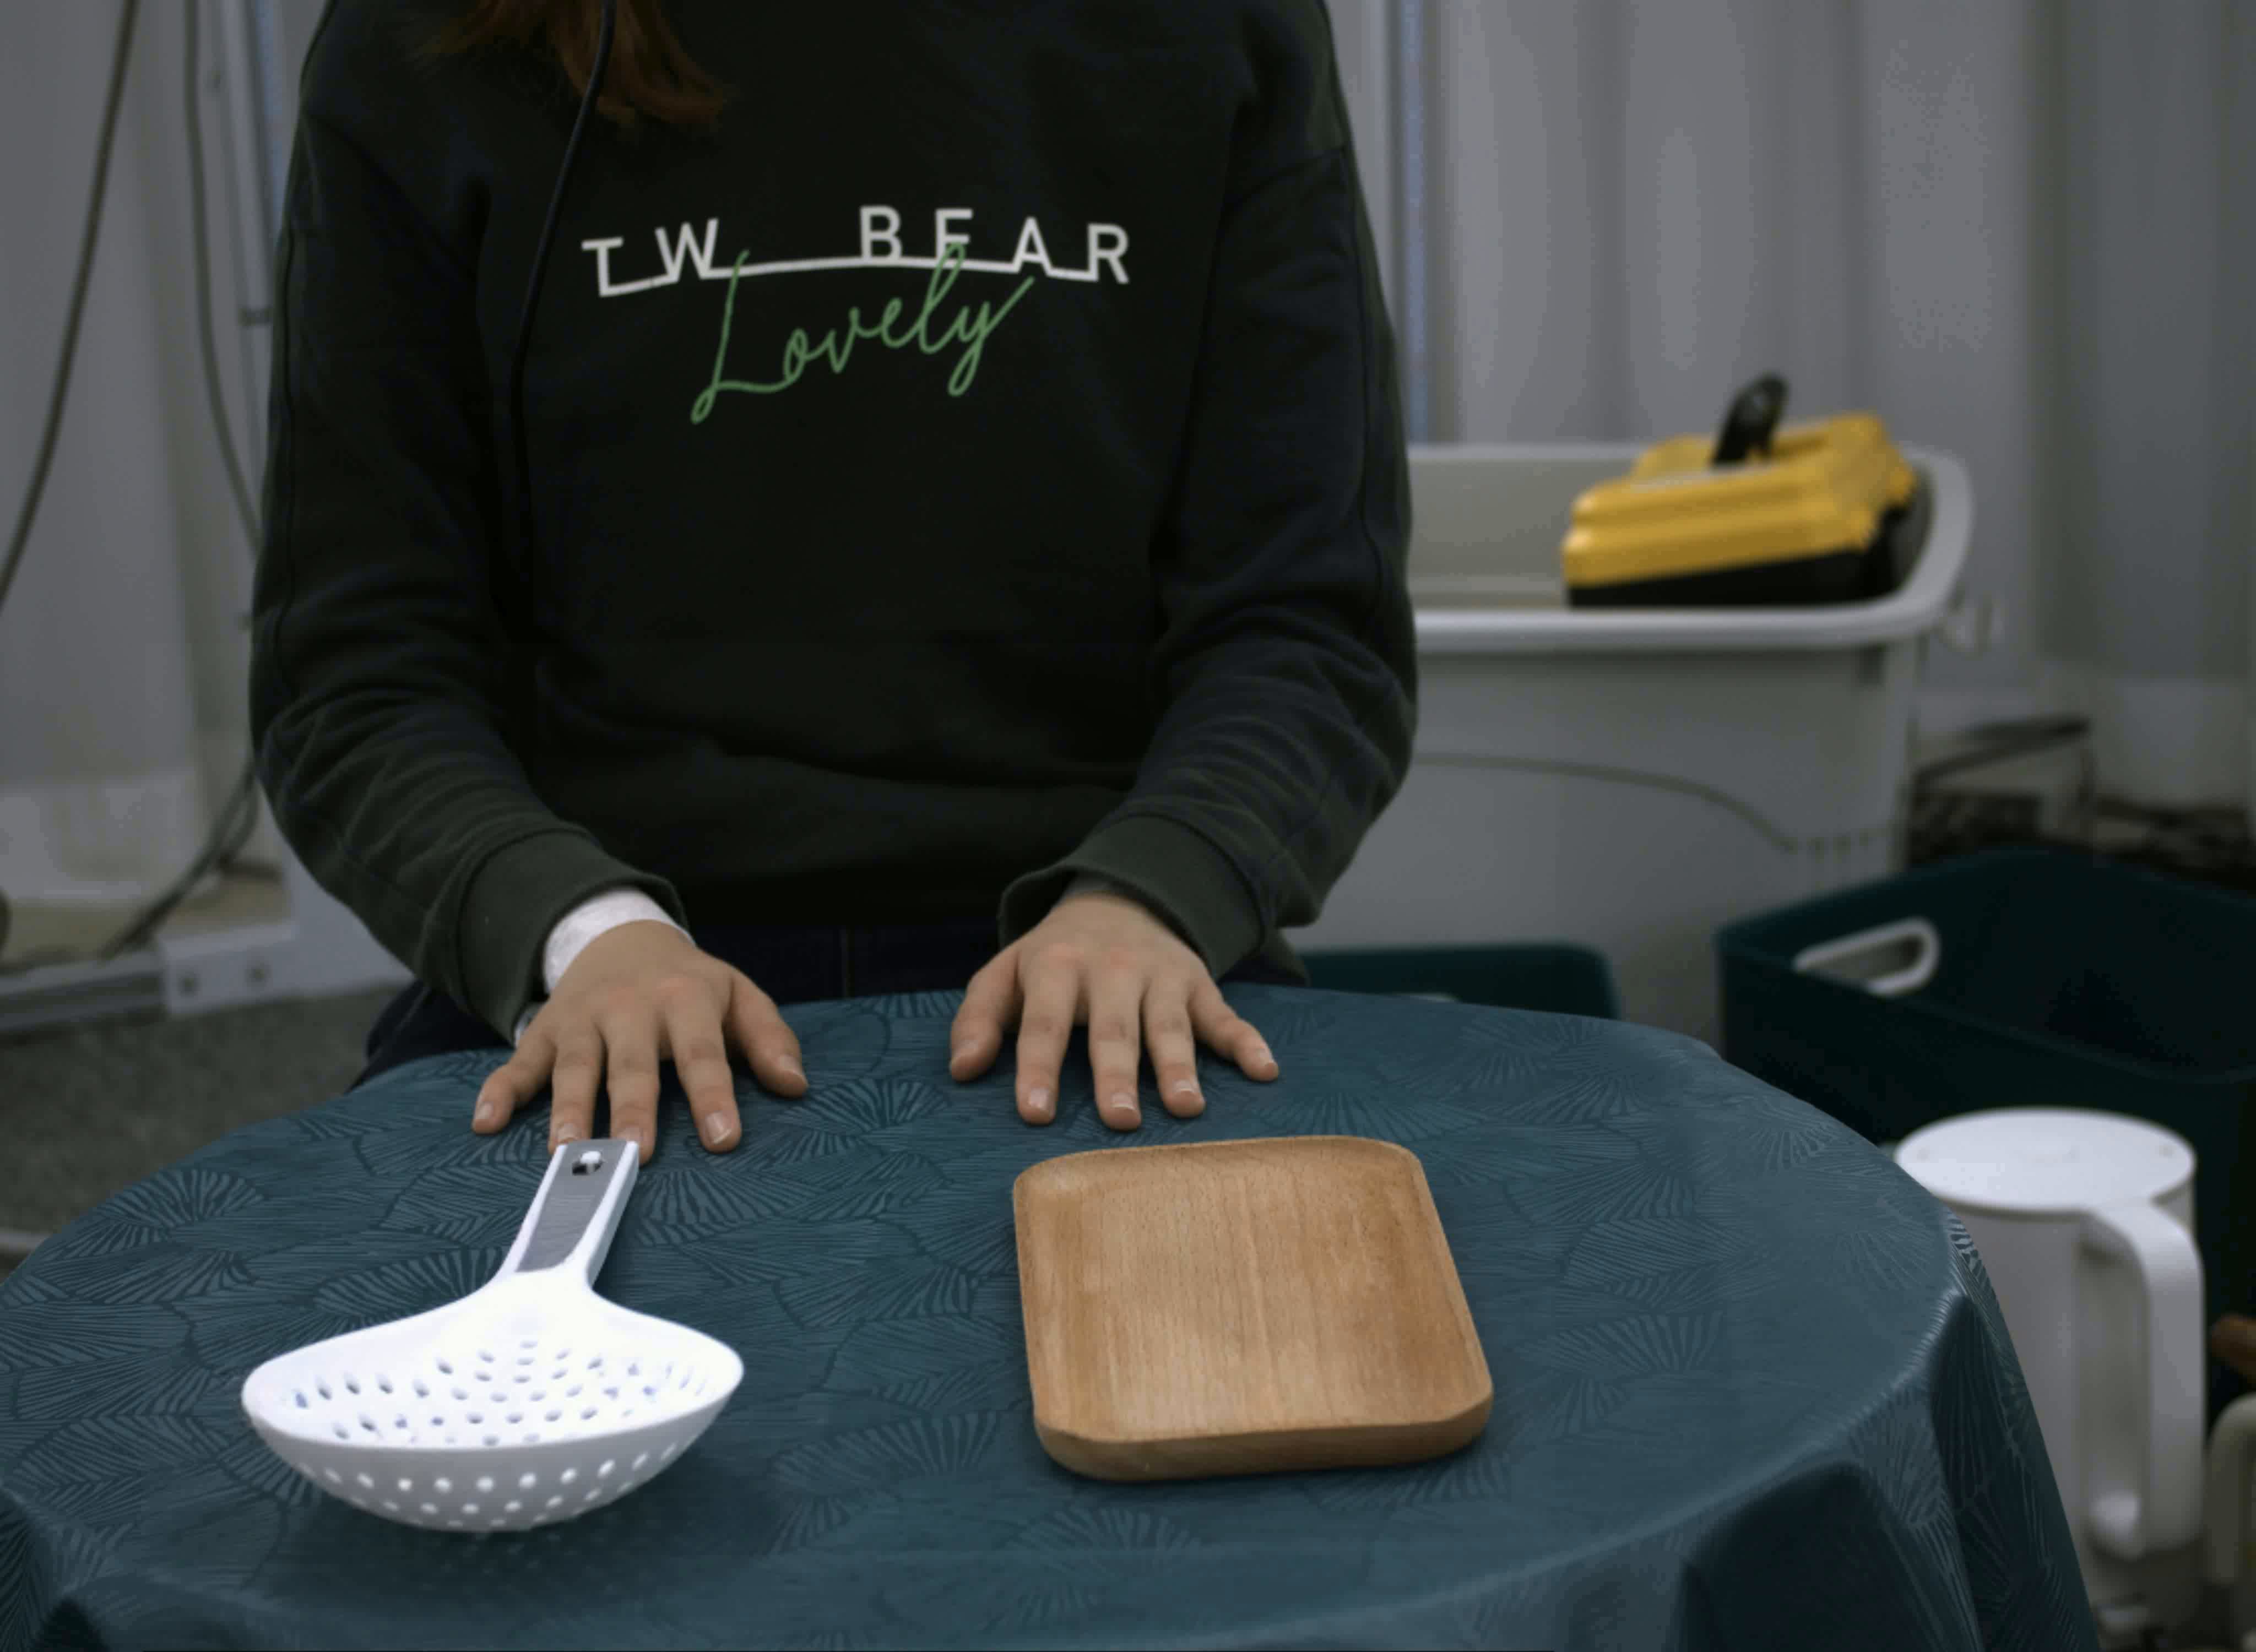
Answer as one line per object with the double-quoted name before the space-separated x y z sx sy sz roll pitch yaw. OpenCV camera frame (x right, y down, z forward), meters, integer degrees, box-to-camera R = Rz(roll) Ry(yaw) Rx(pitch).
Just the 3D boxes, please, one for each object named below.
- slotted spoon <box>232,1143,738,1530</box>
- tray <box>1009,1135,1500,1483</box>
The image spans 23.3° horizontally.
"slotted spoon" -0.170 0.137 1.574 0.135 0.045 0.352 0 14 1
"tray" 0.033 0.138 1.591 0.130 0.023 0.252 -2 14 -2
